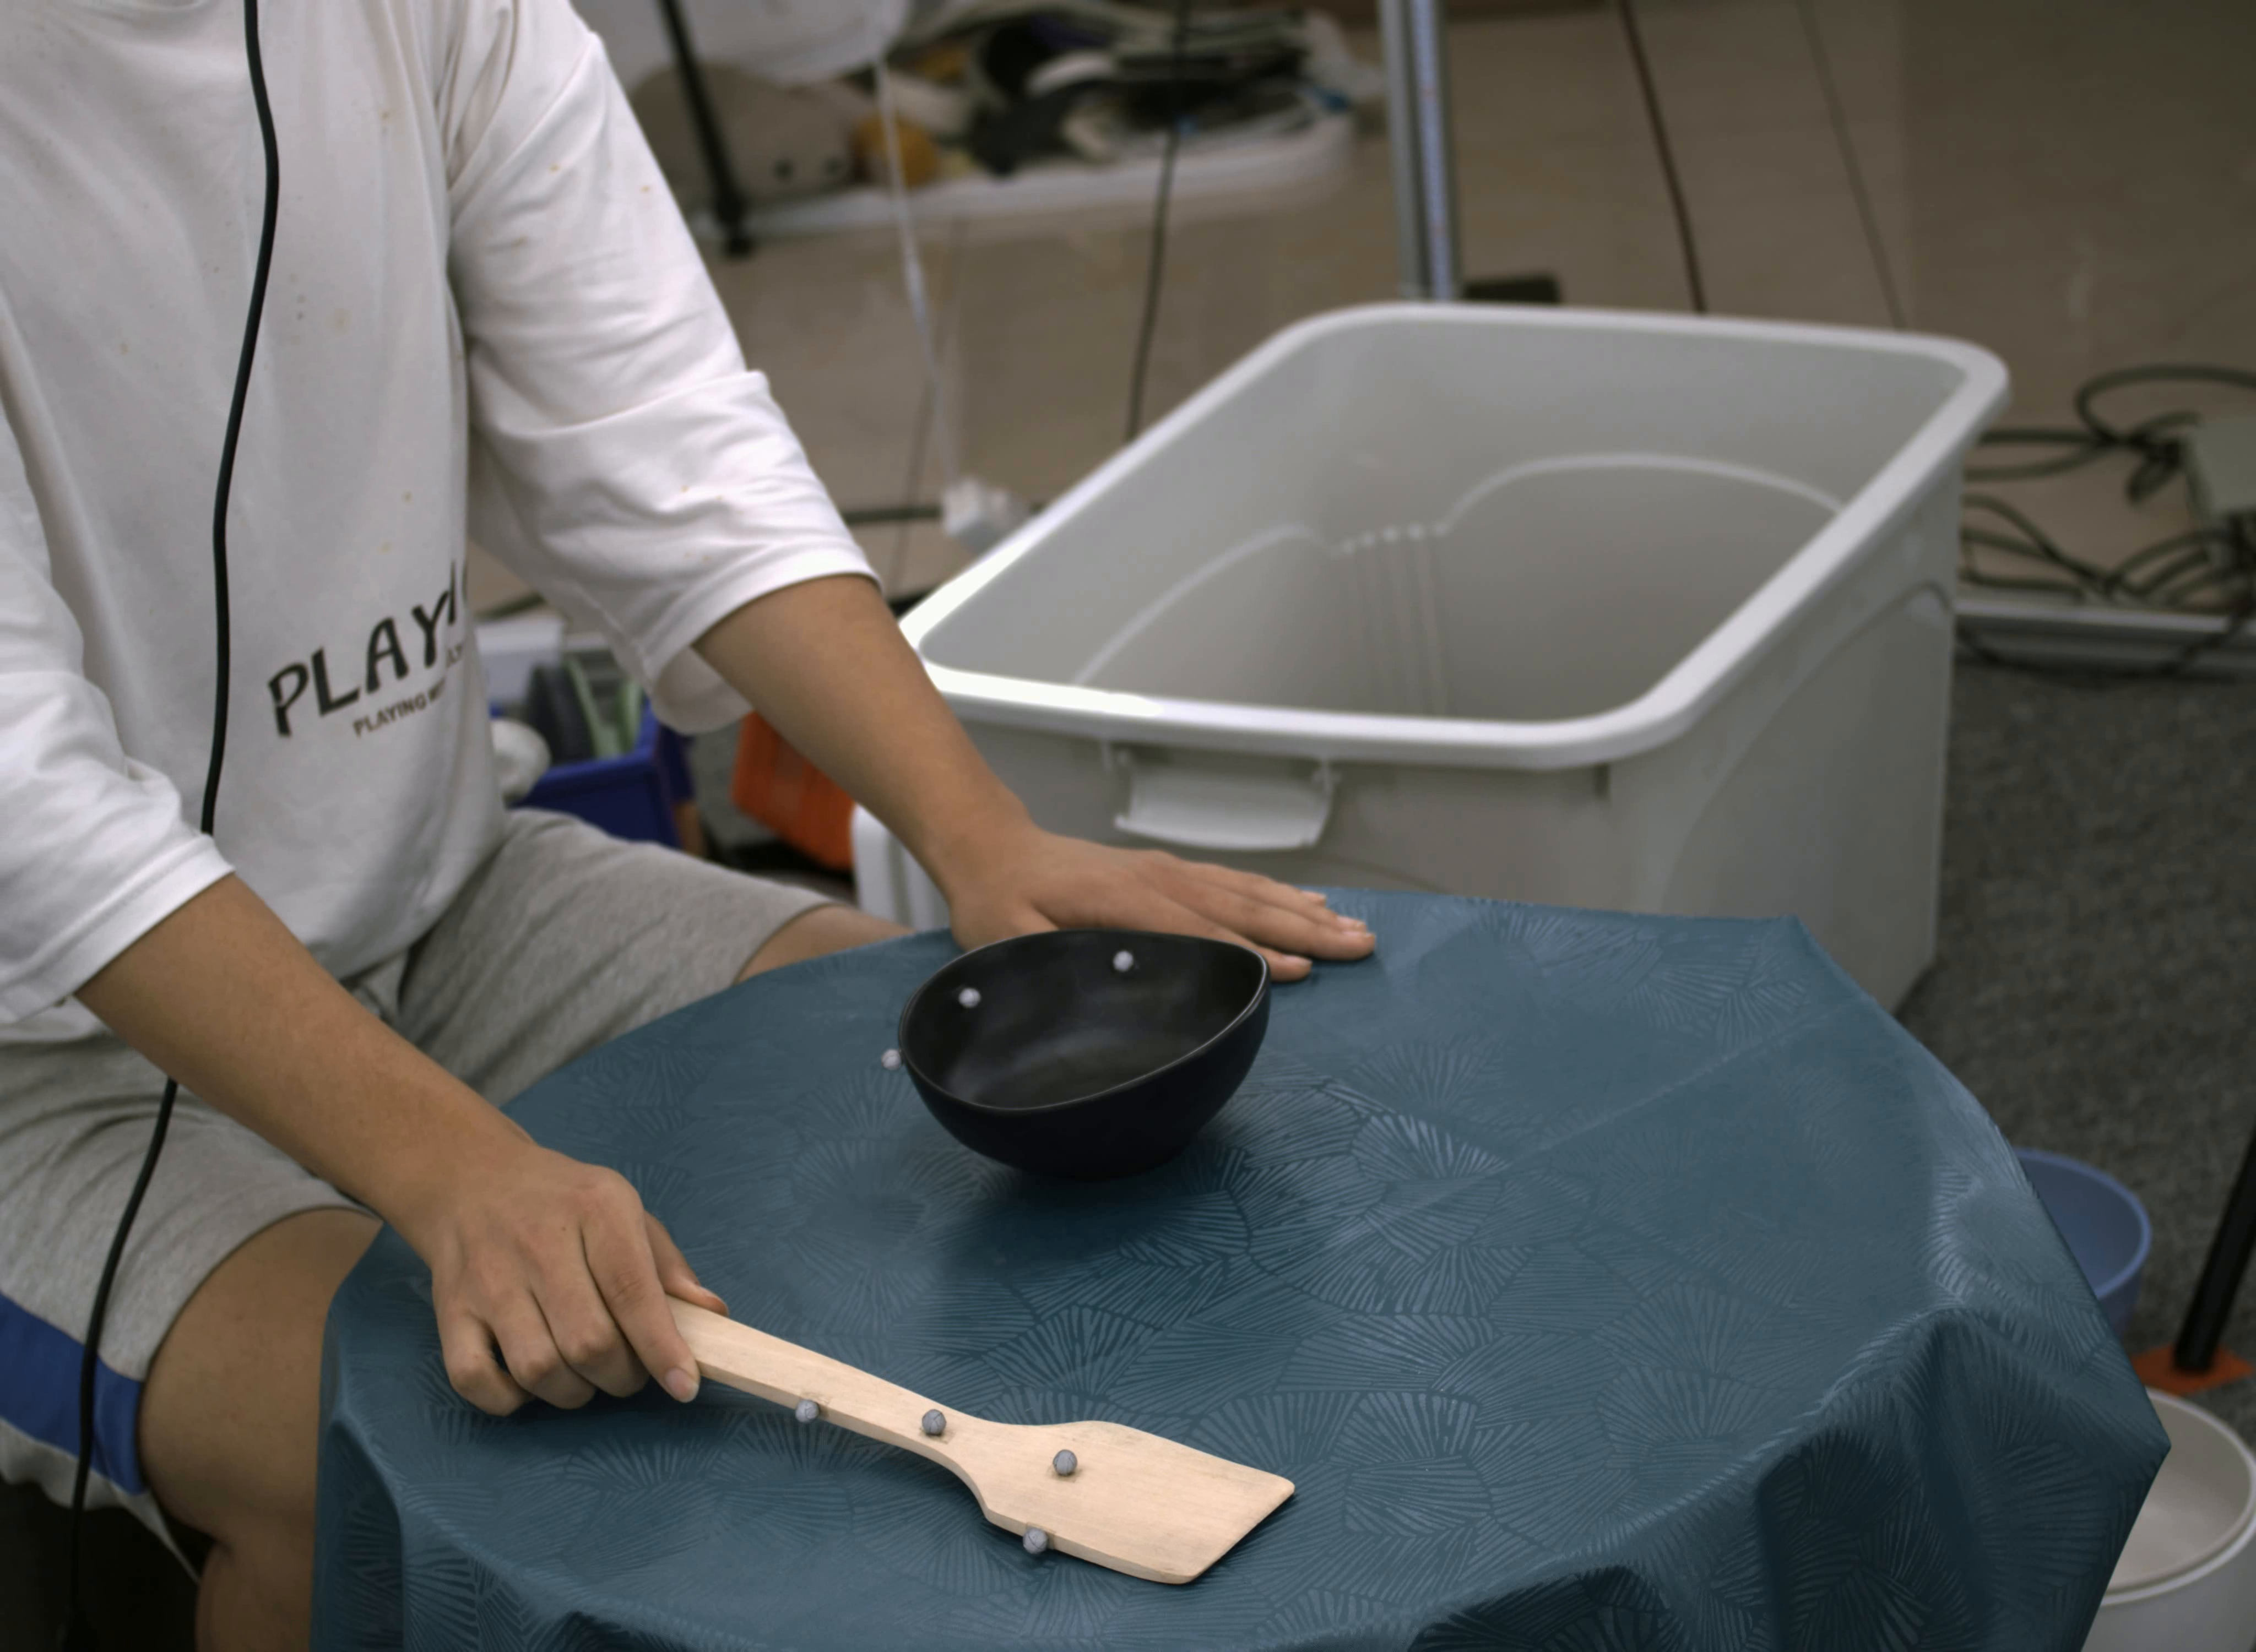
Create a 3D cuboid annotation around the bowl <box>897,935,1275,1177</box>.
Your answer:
[{"bbox_3d":[-0.013,0.092,2.174,0.137,0.068,0.168,6,26,26],"label":"bowl"}]

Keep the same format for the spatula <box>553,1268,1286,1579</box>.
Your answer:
[{"bbox_3d":[-0.084,0.204,1.988,0.291,0.011,0.071,17,33,29],"label":"spatula"}]
